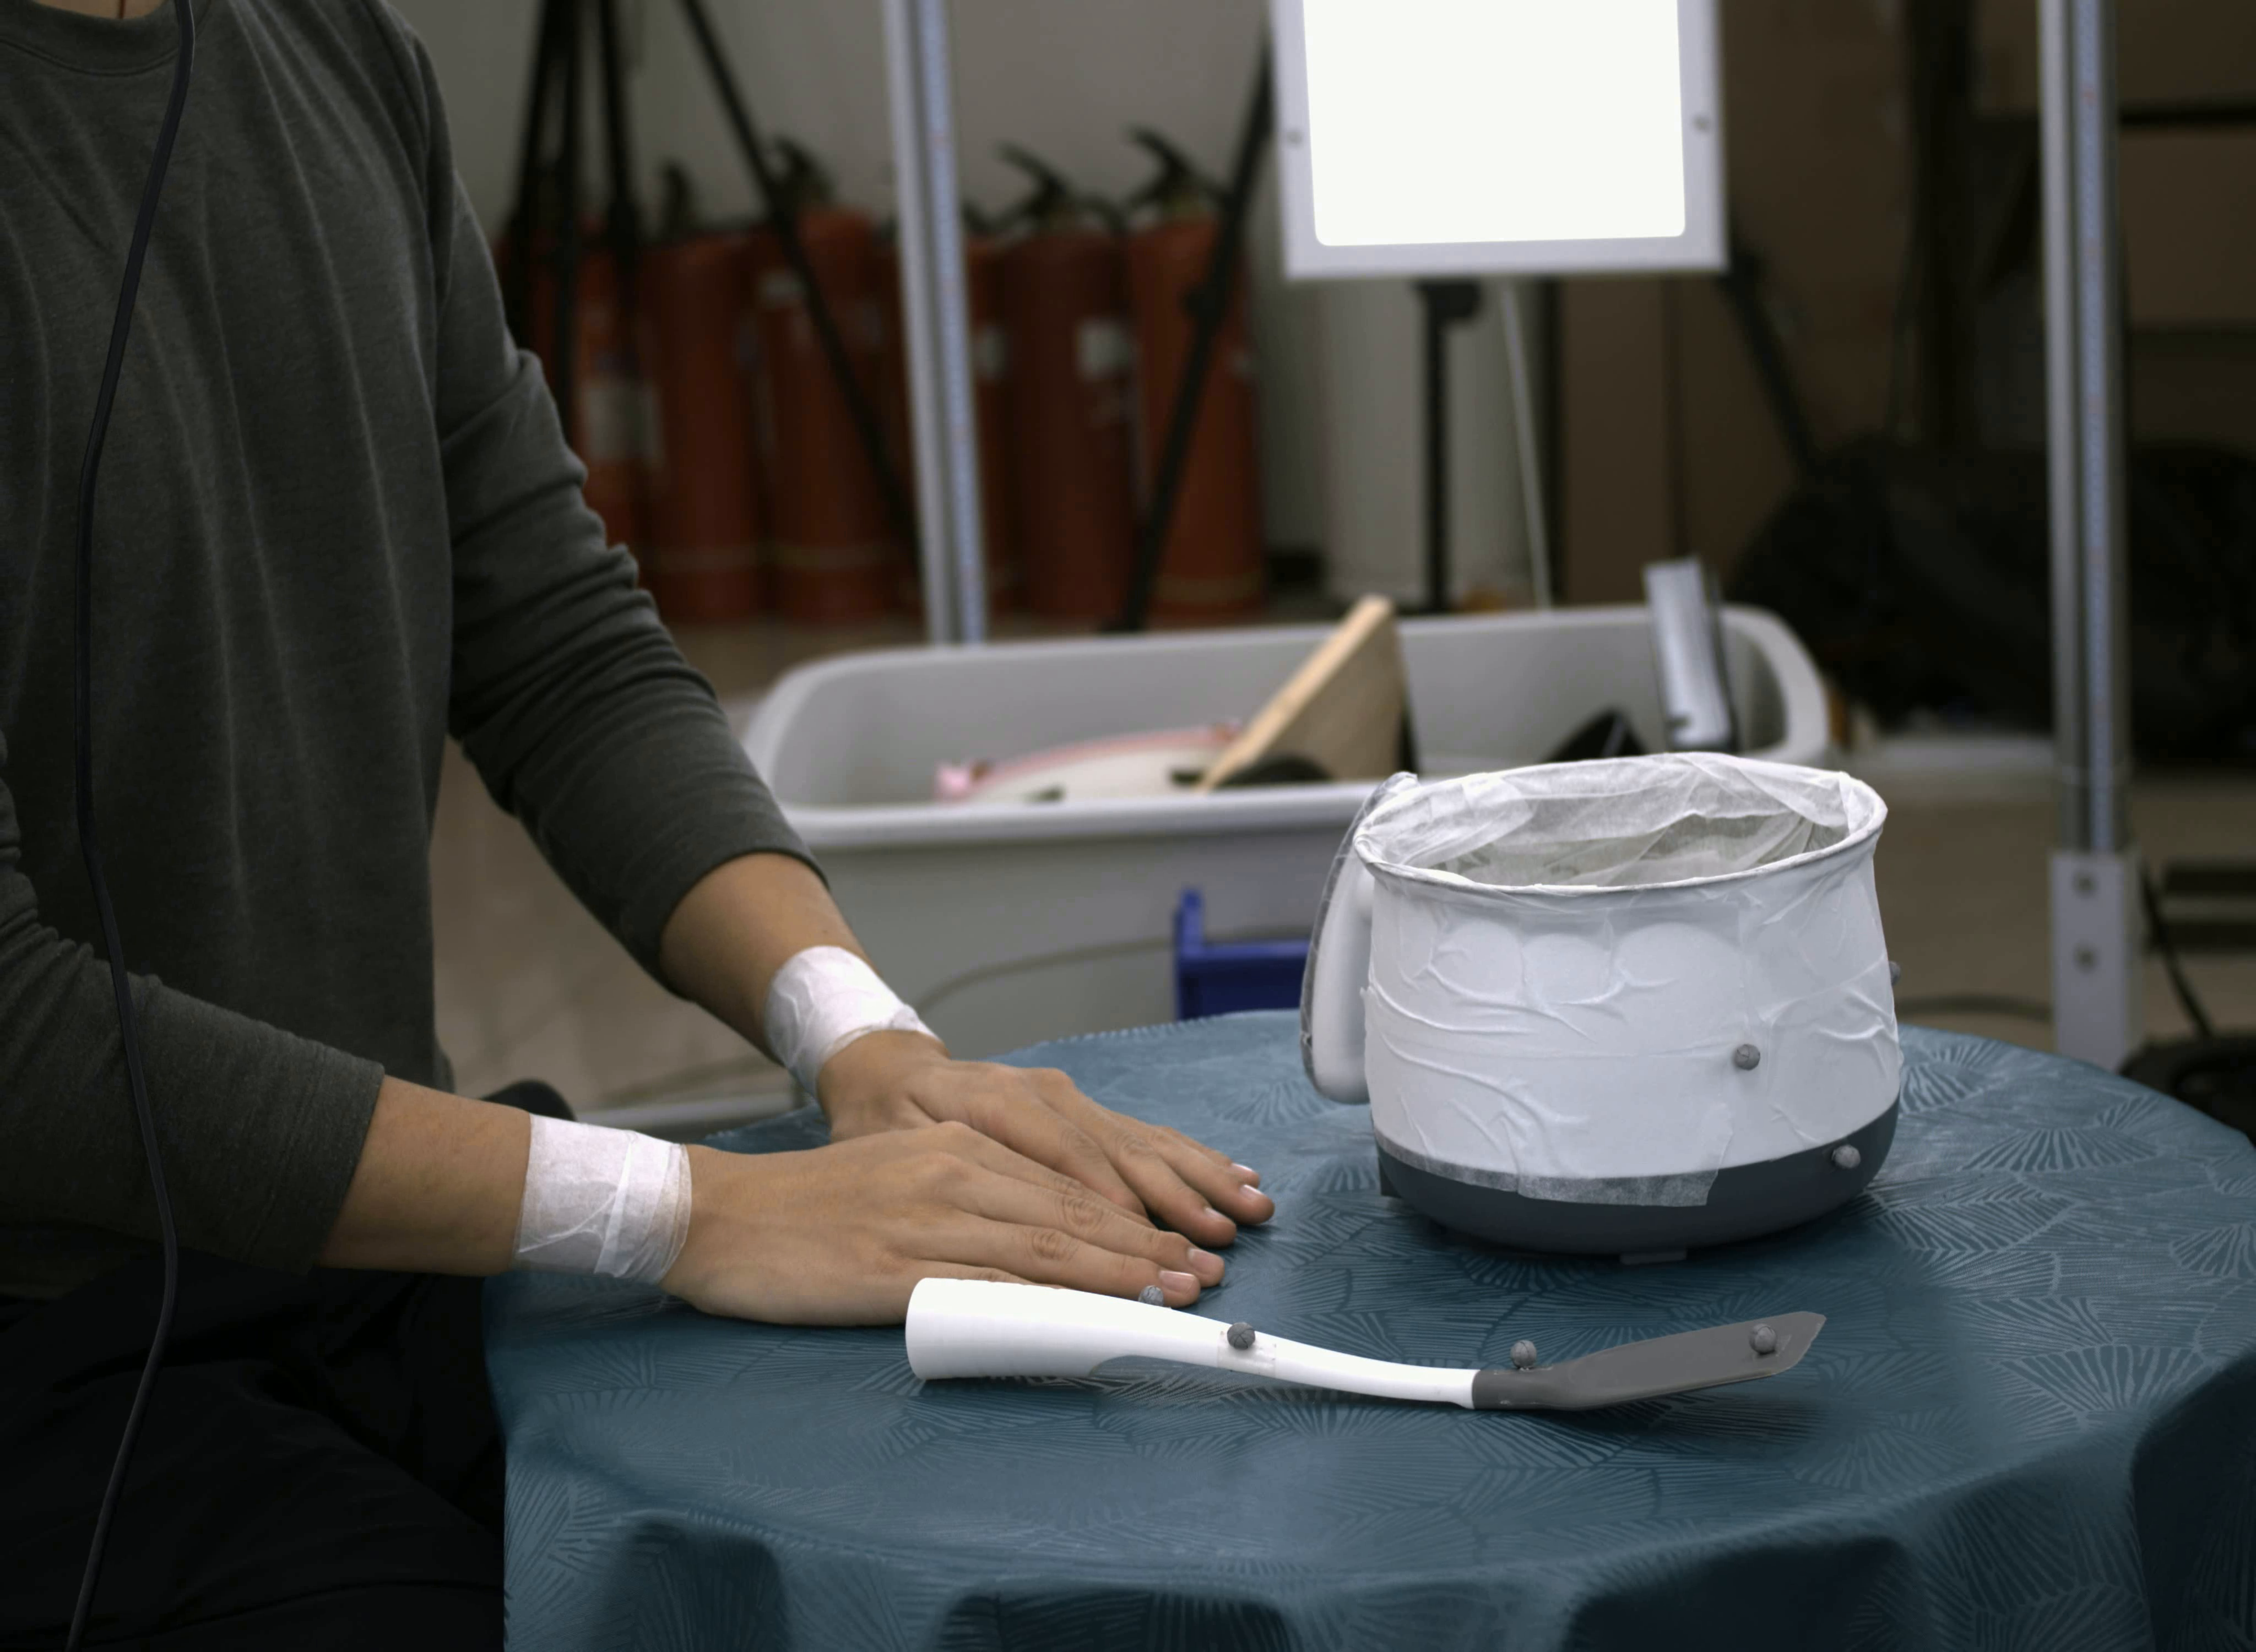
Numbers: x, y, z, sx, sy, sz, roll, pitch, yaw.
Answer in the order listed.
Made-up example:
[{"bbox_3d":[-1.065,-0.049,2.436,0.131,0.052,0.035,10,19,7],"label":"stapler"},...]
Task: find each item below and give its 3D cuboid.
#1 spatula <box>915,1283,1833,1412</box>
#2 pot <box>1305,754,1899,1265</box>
[{"bbox_3d":[0.072,0.160,1.672,0.292,0.032,0.057,0,12,24],"label":"spatula"},{"bbox_3d":[0.148,0.056,1.849,0.174,0.137,0.239,-17,18,-41],"label":"pot"}]
